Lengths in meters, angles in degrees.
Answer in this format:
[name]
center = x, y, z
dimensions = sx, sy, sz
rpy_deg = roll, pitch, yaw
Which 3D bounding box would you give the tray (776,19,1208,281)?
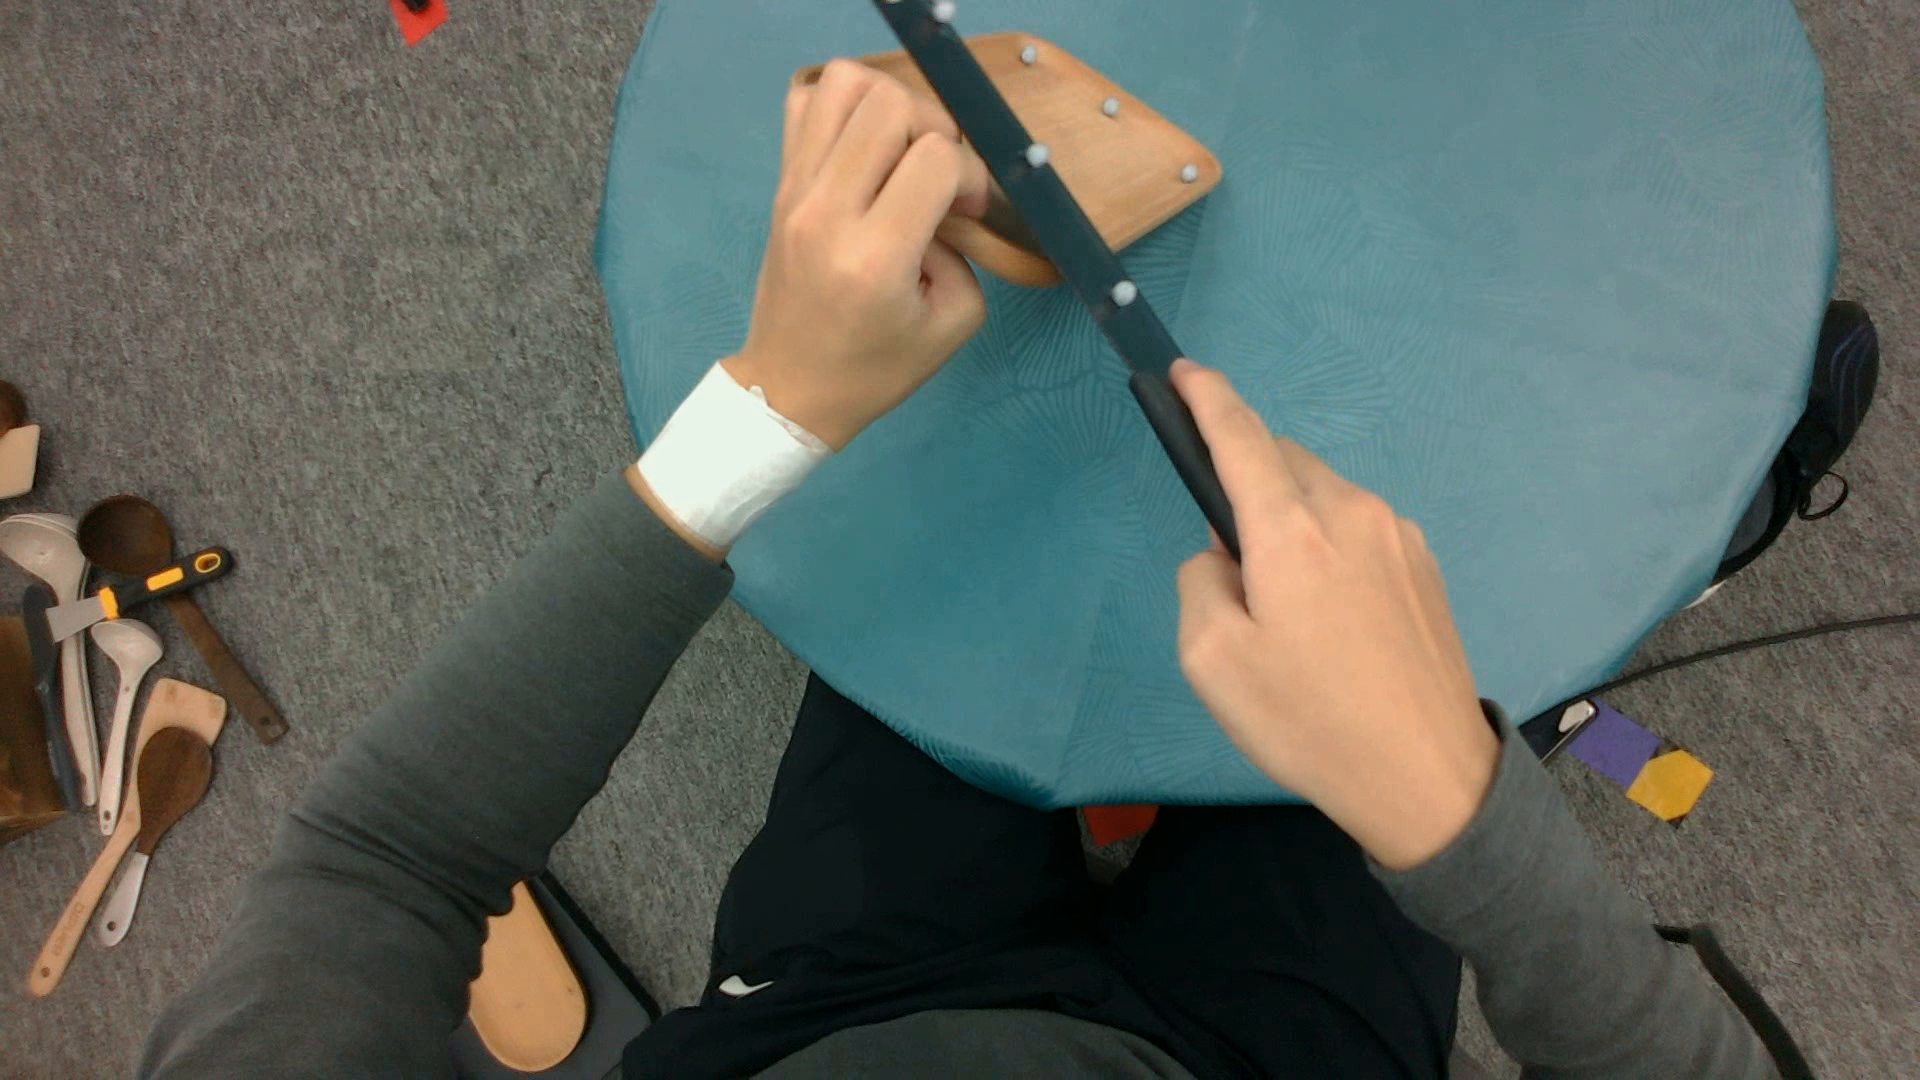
[tray]
center = 0.025, -0.172, 0.584
dimensions = 0.130, 0.252, 0.023
rpy_deg = 36, 124, 8

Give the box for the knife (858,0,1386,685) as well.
[knife]
center = 0.053, -0.079, 0.477
dimensions = 0.021, 0.081, 0.302
rpy_deg = -37, 80, 26
